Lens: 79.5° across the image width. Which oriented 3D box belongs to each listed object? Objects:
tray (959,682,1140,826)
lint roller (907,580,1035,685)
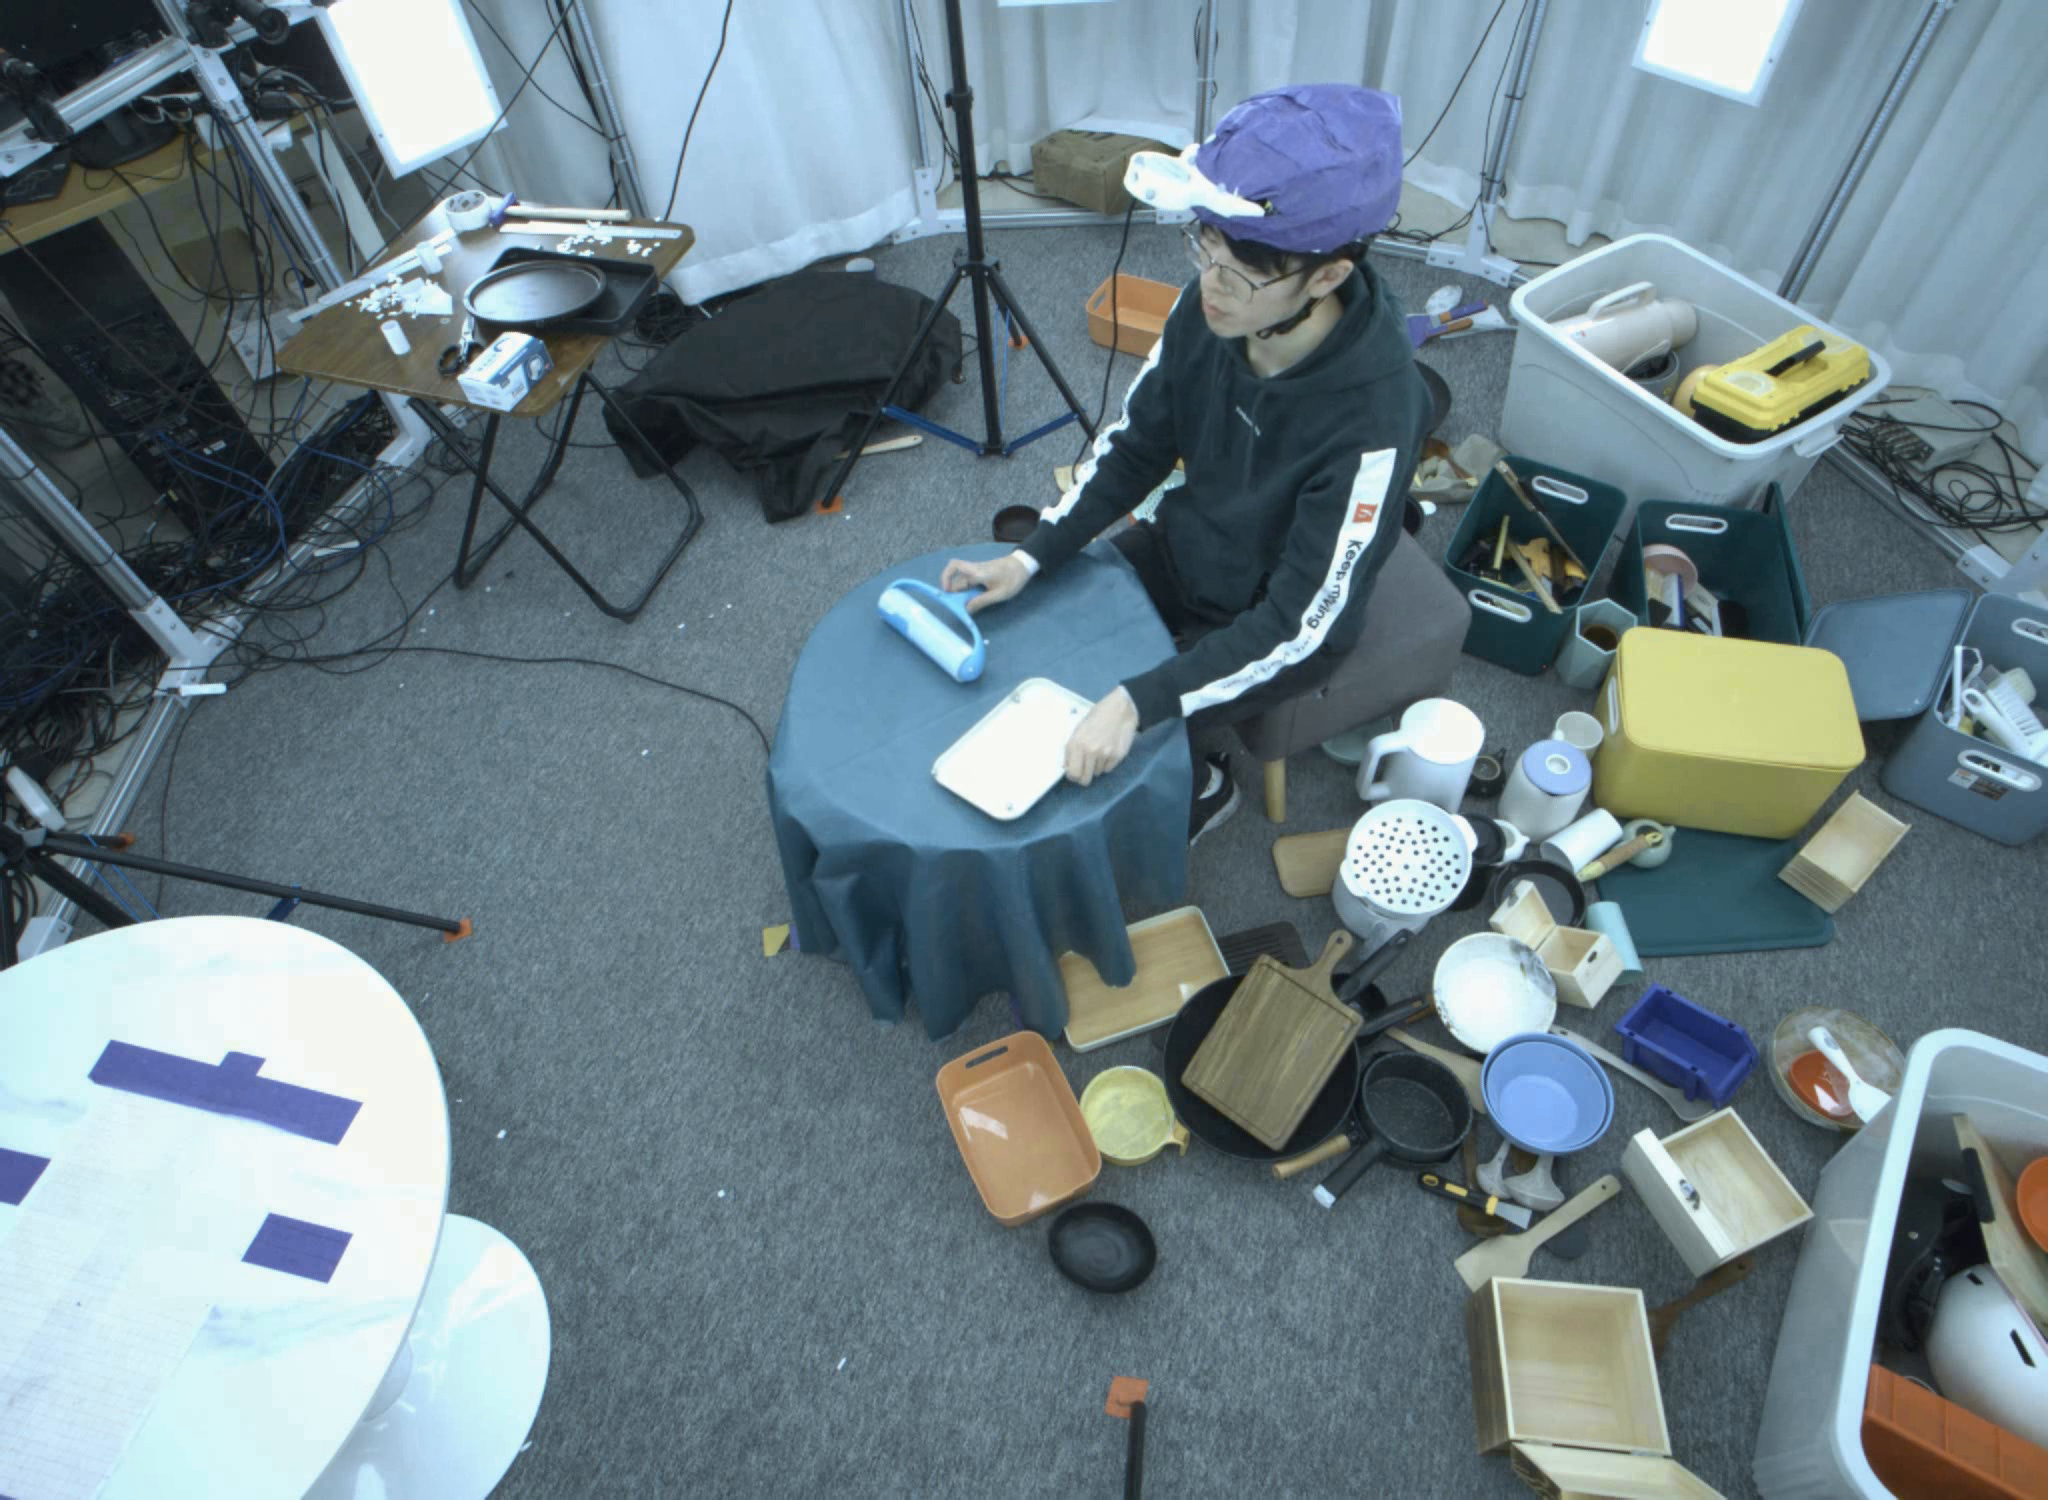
[{"bbox_3d":[0.038,0.004,1.757,0.168,0.018,0.241,33,61,31],"label":"tray"},{"bbox_3d":[-0.058,-0.210,1.899,0.181,0.069,0.224,-39,61,-21],"label":"lint roller"}]
